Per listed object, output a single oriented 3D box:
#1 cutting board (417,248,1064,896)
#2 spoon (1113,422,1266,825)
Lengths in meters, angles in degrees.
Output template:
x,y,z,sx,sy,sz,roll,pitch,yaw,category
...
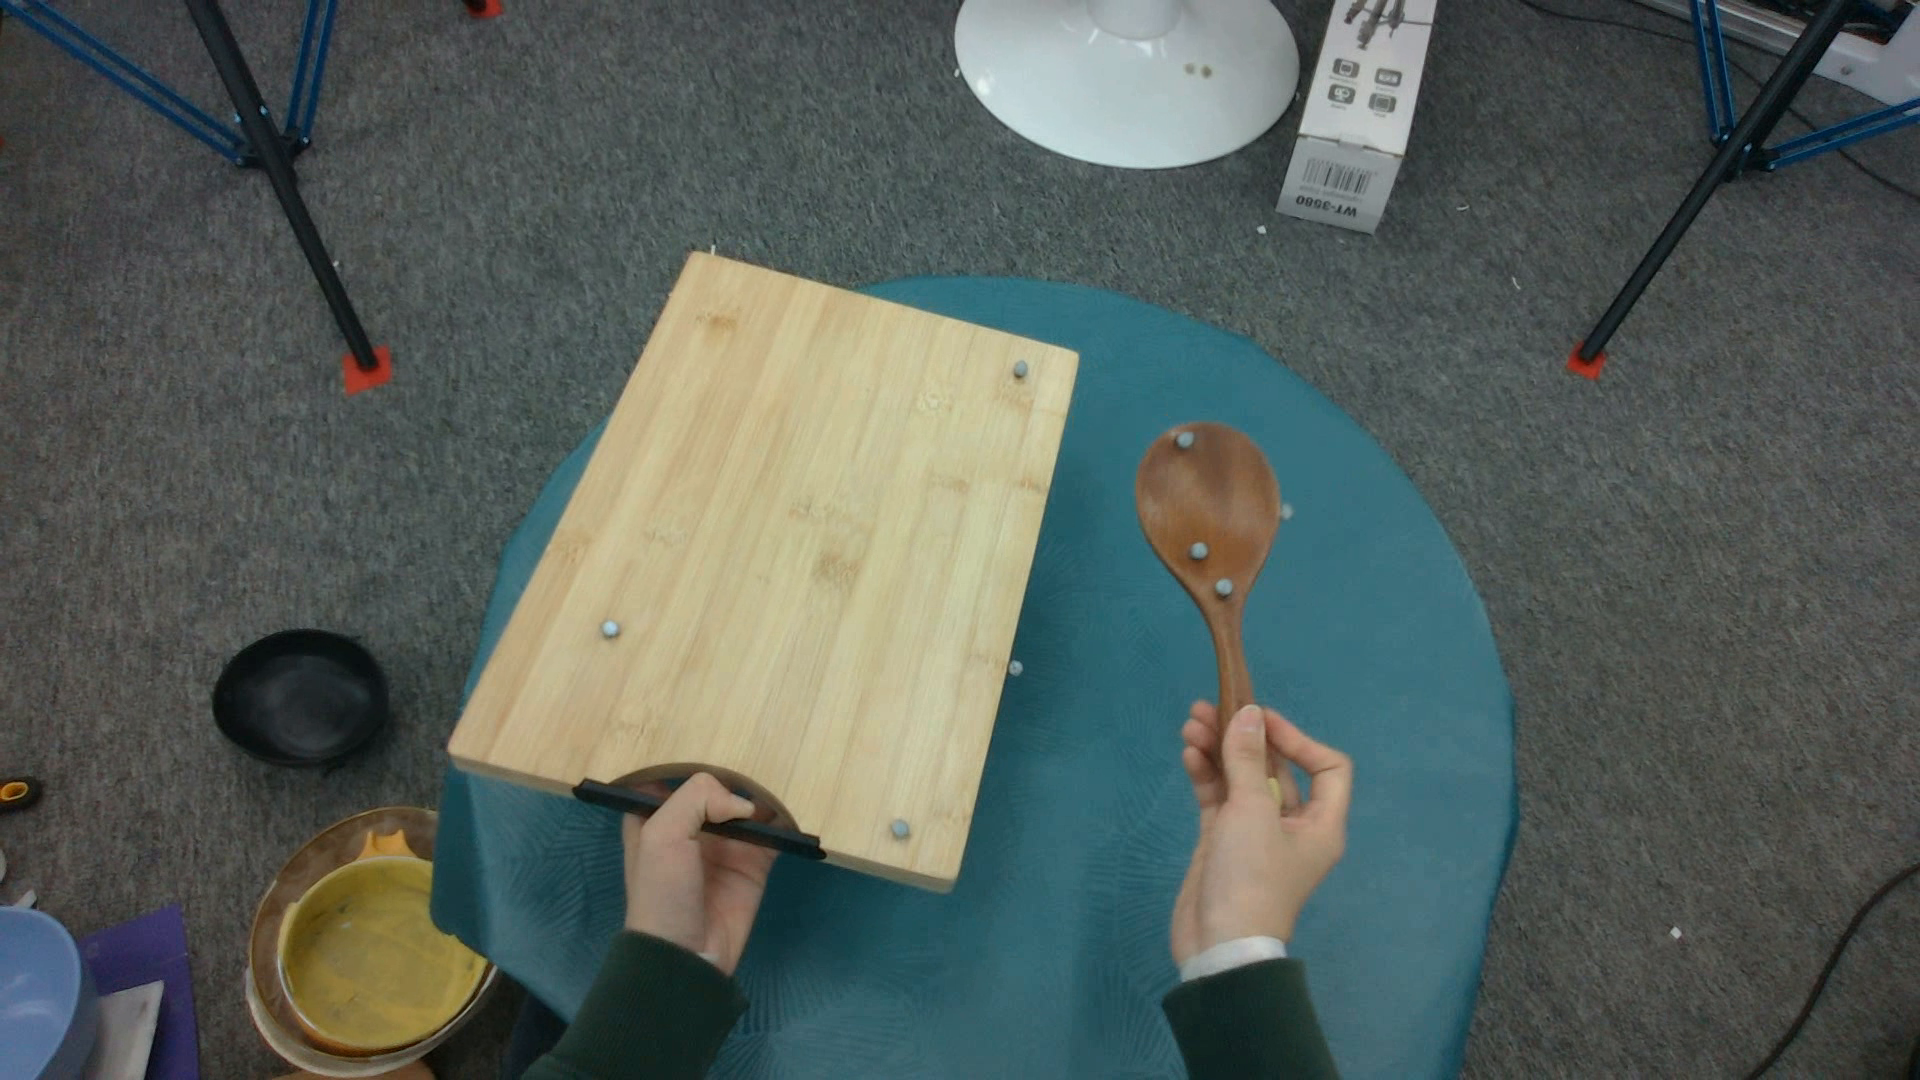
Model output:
x,y,z,sx,sy,sz,roll,pitch,yaw,category
-0.092,-0.005,0.727,0.251,0.023,0.350,13,54,0,cutting board
0.120,0.035,0.681,0.075,0.017,0.216,-2,61,-4,spoon
